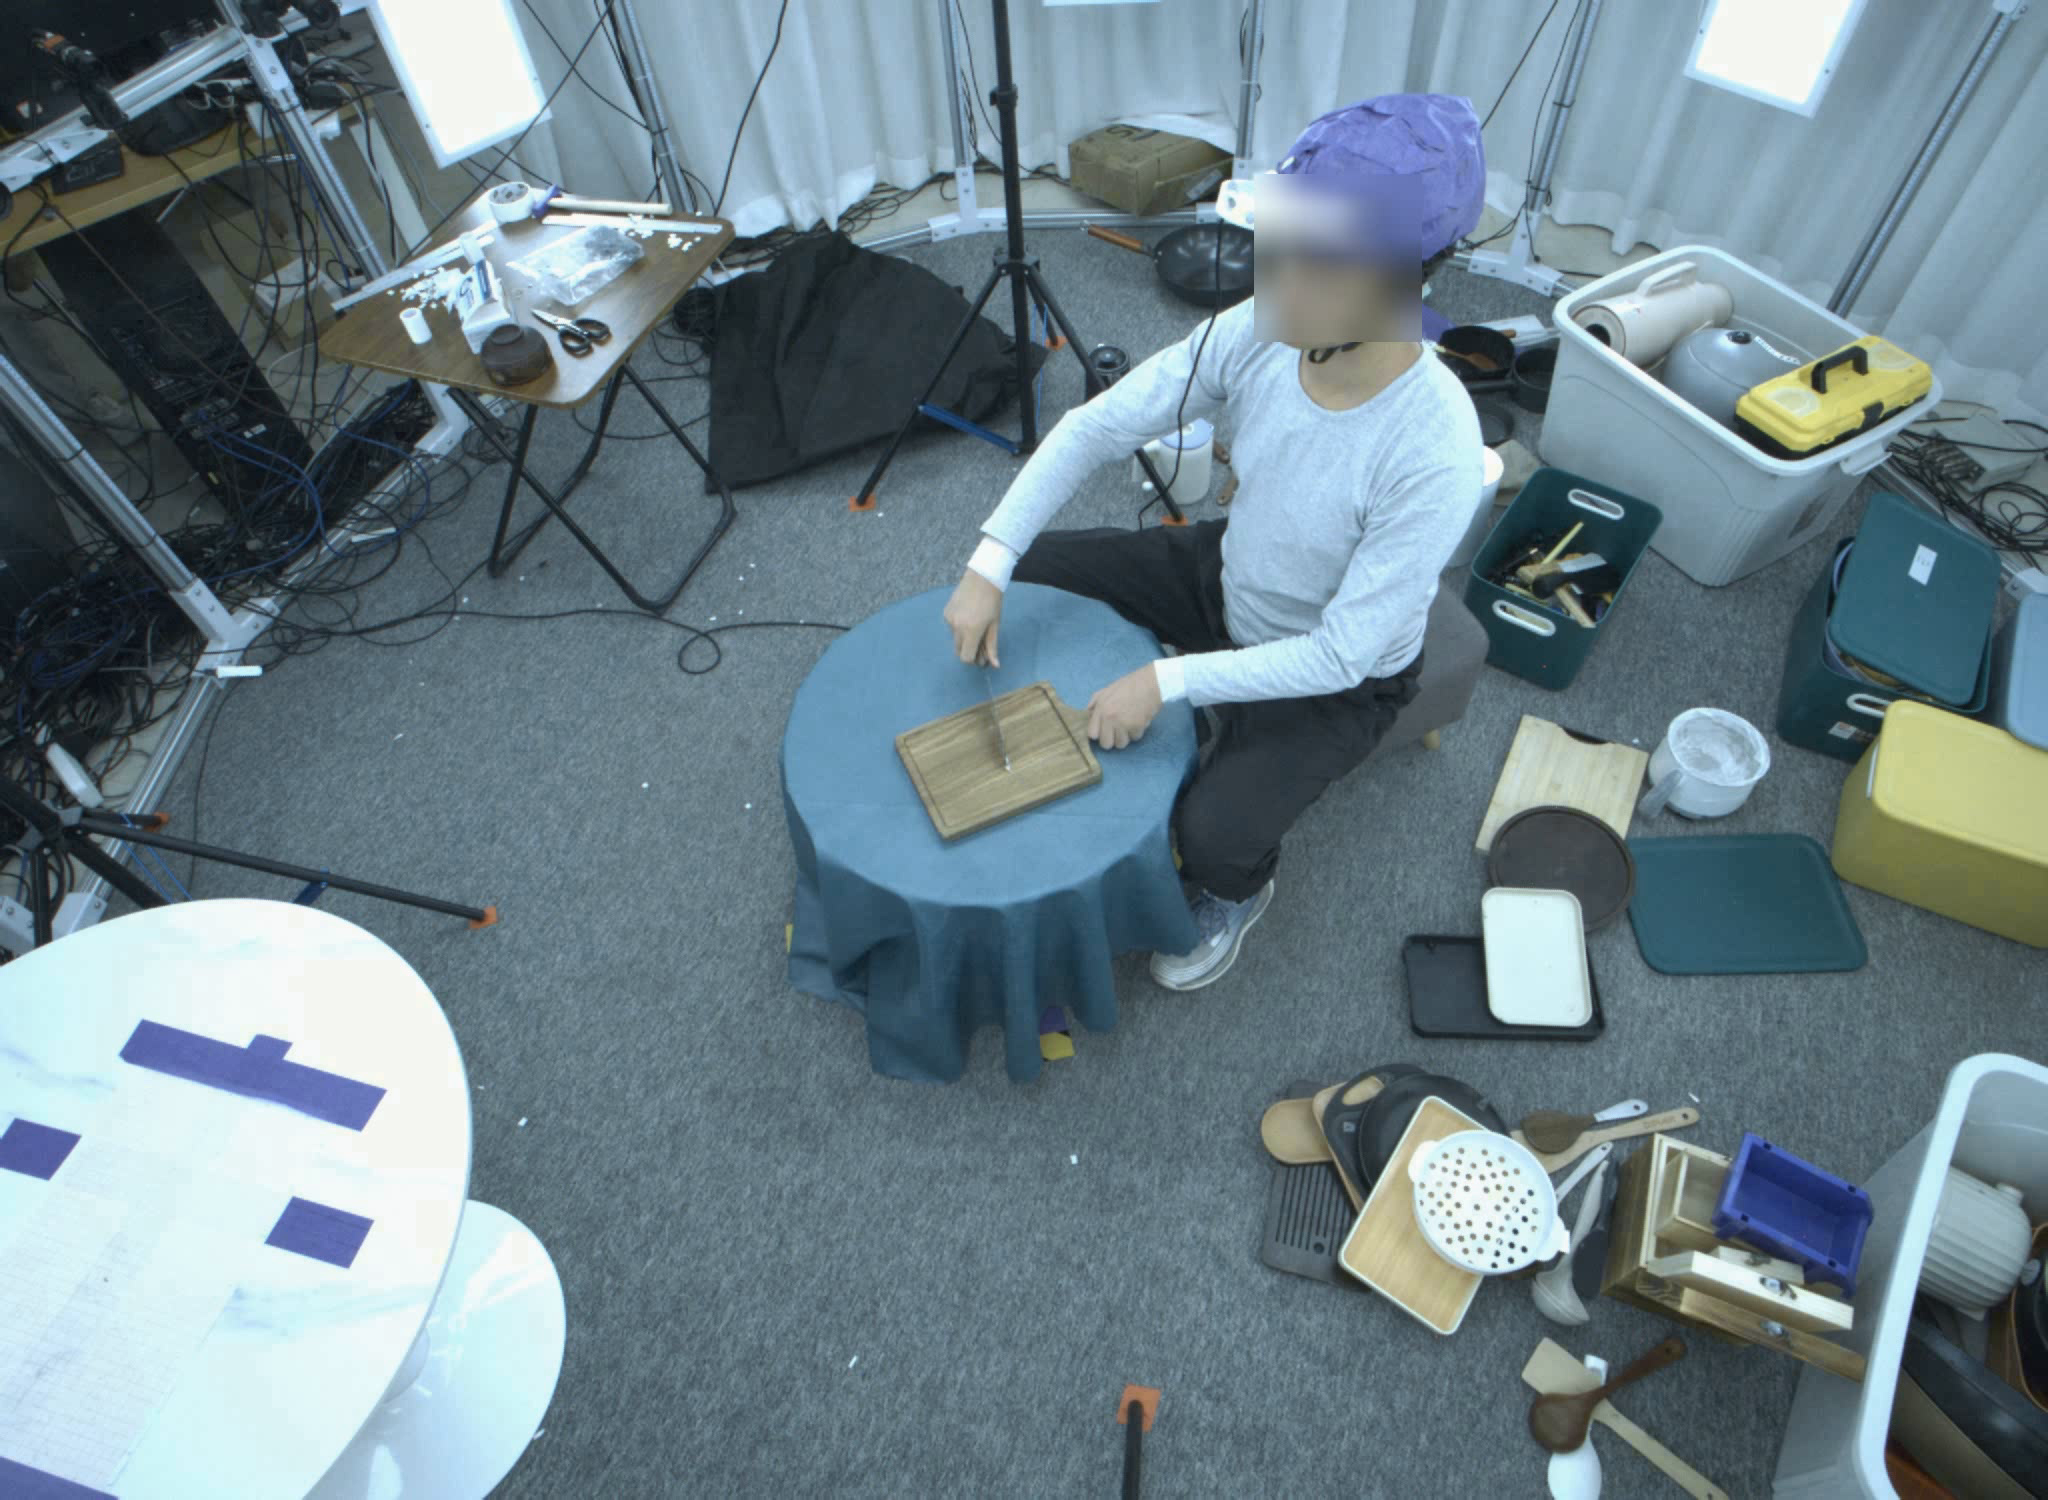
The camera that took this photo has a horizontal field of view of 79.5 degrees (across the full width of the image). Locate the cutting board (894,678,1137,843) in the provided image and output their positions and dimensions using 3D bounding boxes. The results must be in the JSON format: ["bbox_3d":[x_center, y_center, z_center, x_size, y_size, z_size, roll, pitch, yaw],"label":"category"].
[{"bbox_3d":[0.006,-0.007,1.788,0.355,0.023,0.197,-22,57,-13],"label":"cutting board"}]

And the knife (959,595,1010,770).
[{"bbox_3d":[-0.055,-0.101,1.800,0.020,0.051,0.286,-16,69,4],"label":"knife"}]
